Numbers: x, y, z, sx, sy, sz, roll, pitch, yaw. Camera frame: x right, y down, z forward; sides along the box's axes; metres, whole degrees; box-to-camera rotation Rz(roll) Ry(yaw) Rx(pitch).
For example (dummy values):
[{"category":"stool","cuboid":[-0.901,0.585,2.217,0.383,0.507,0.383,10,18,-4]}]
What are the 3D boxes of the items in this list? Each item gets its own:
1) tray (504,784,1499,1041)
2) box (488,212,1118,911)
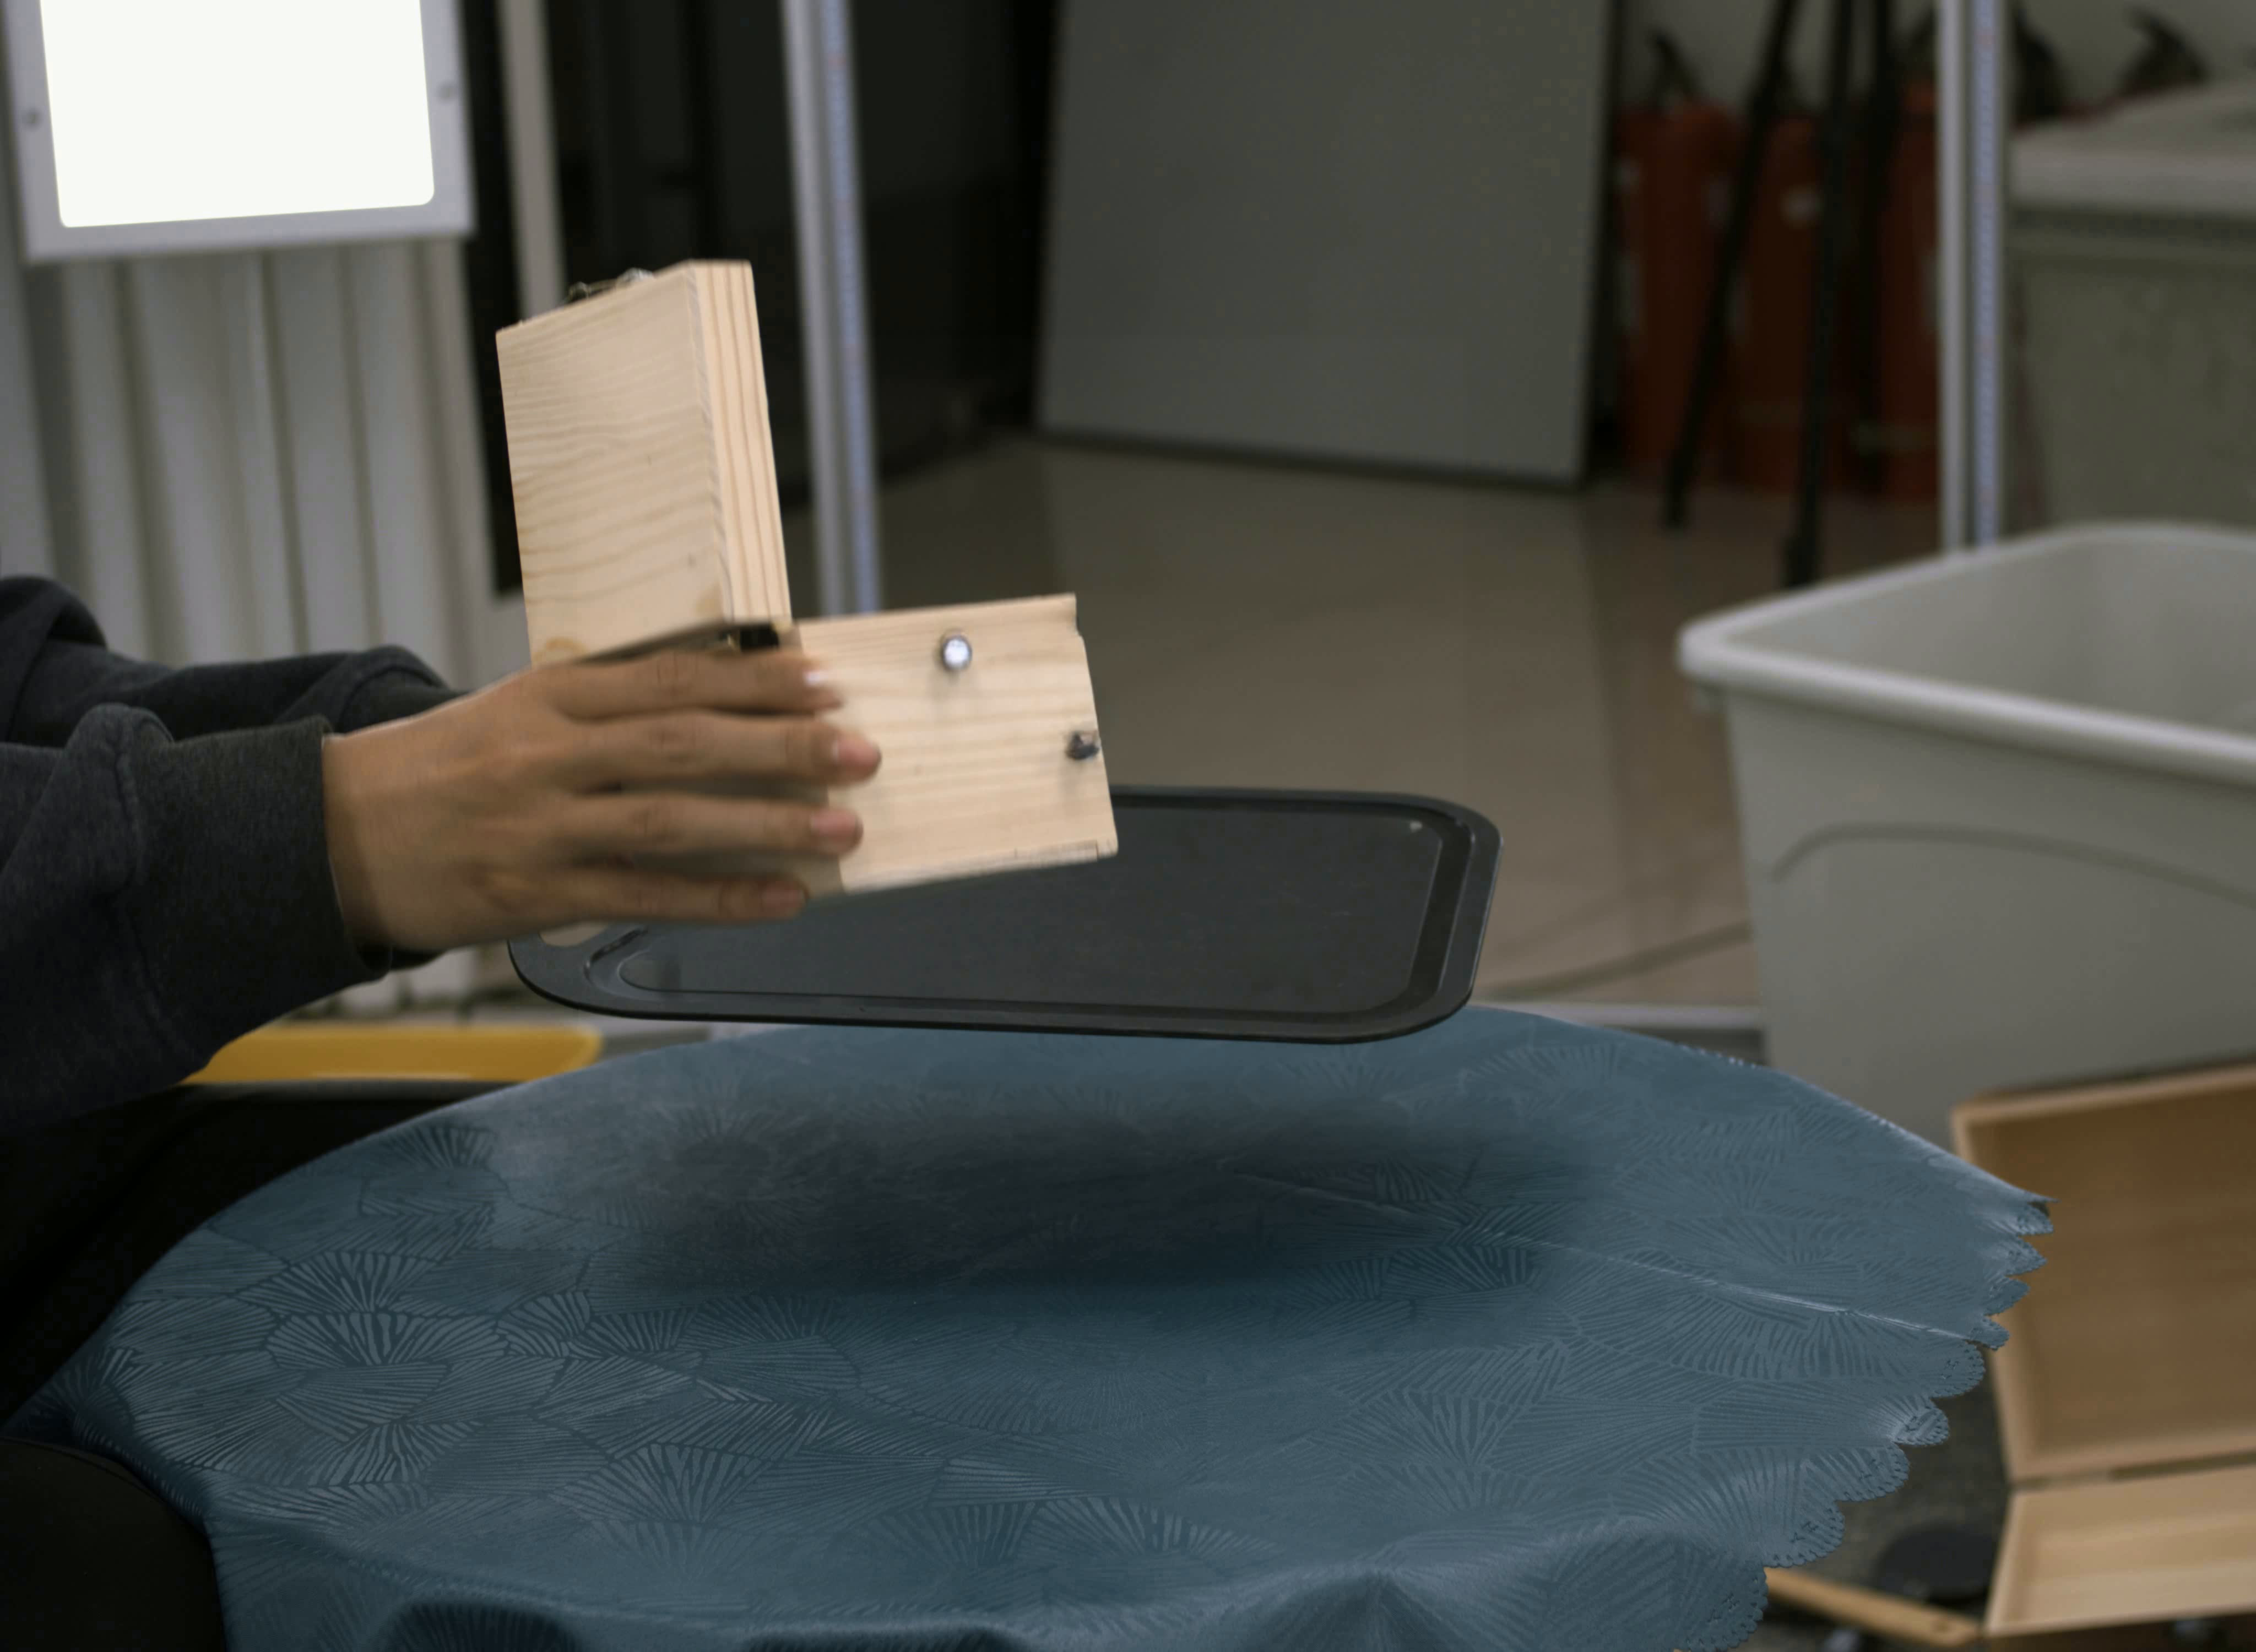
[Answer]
[{"category":"tray","cuboid":[-0.043,0.022,1.770,0.323,0.010,0.210,2,21,10]},{"category":"box","cuboid":[-0.093,-0.078,1.554,0.131,0.187,0.103,-7,-4,-39]}]
